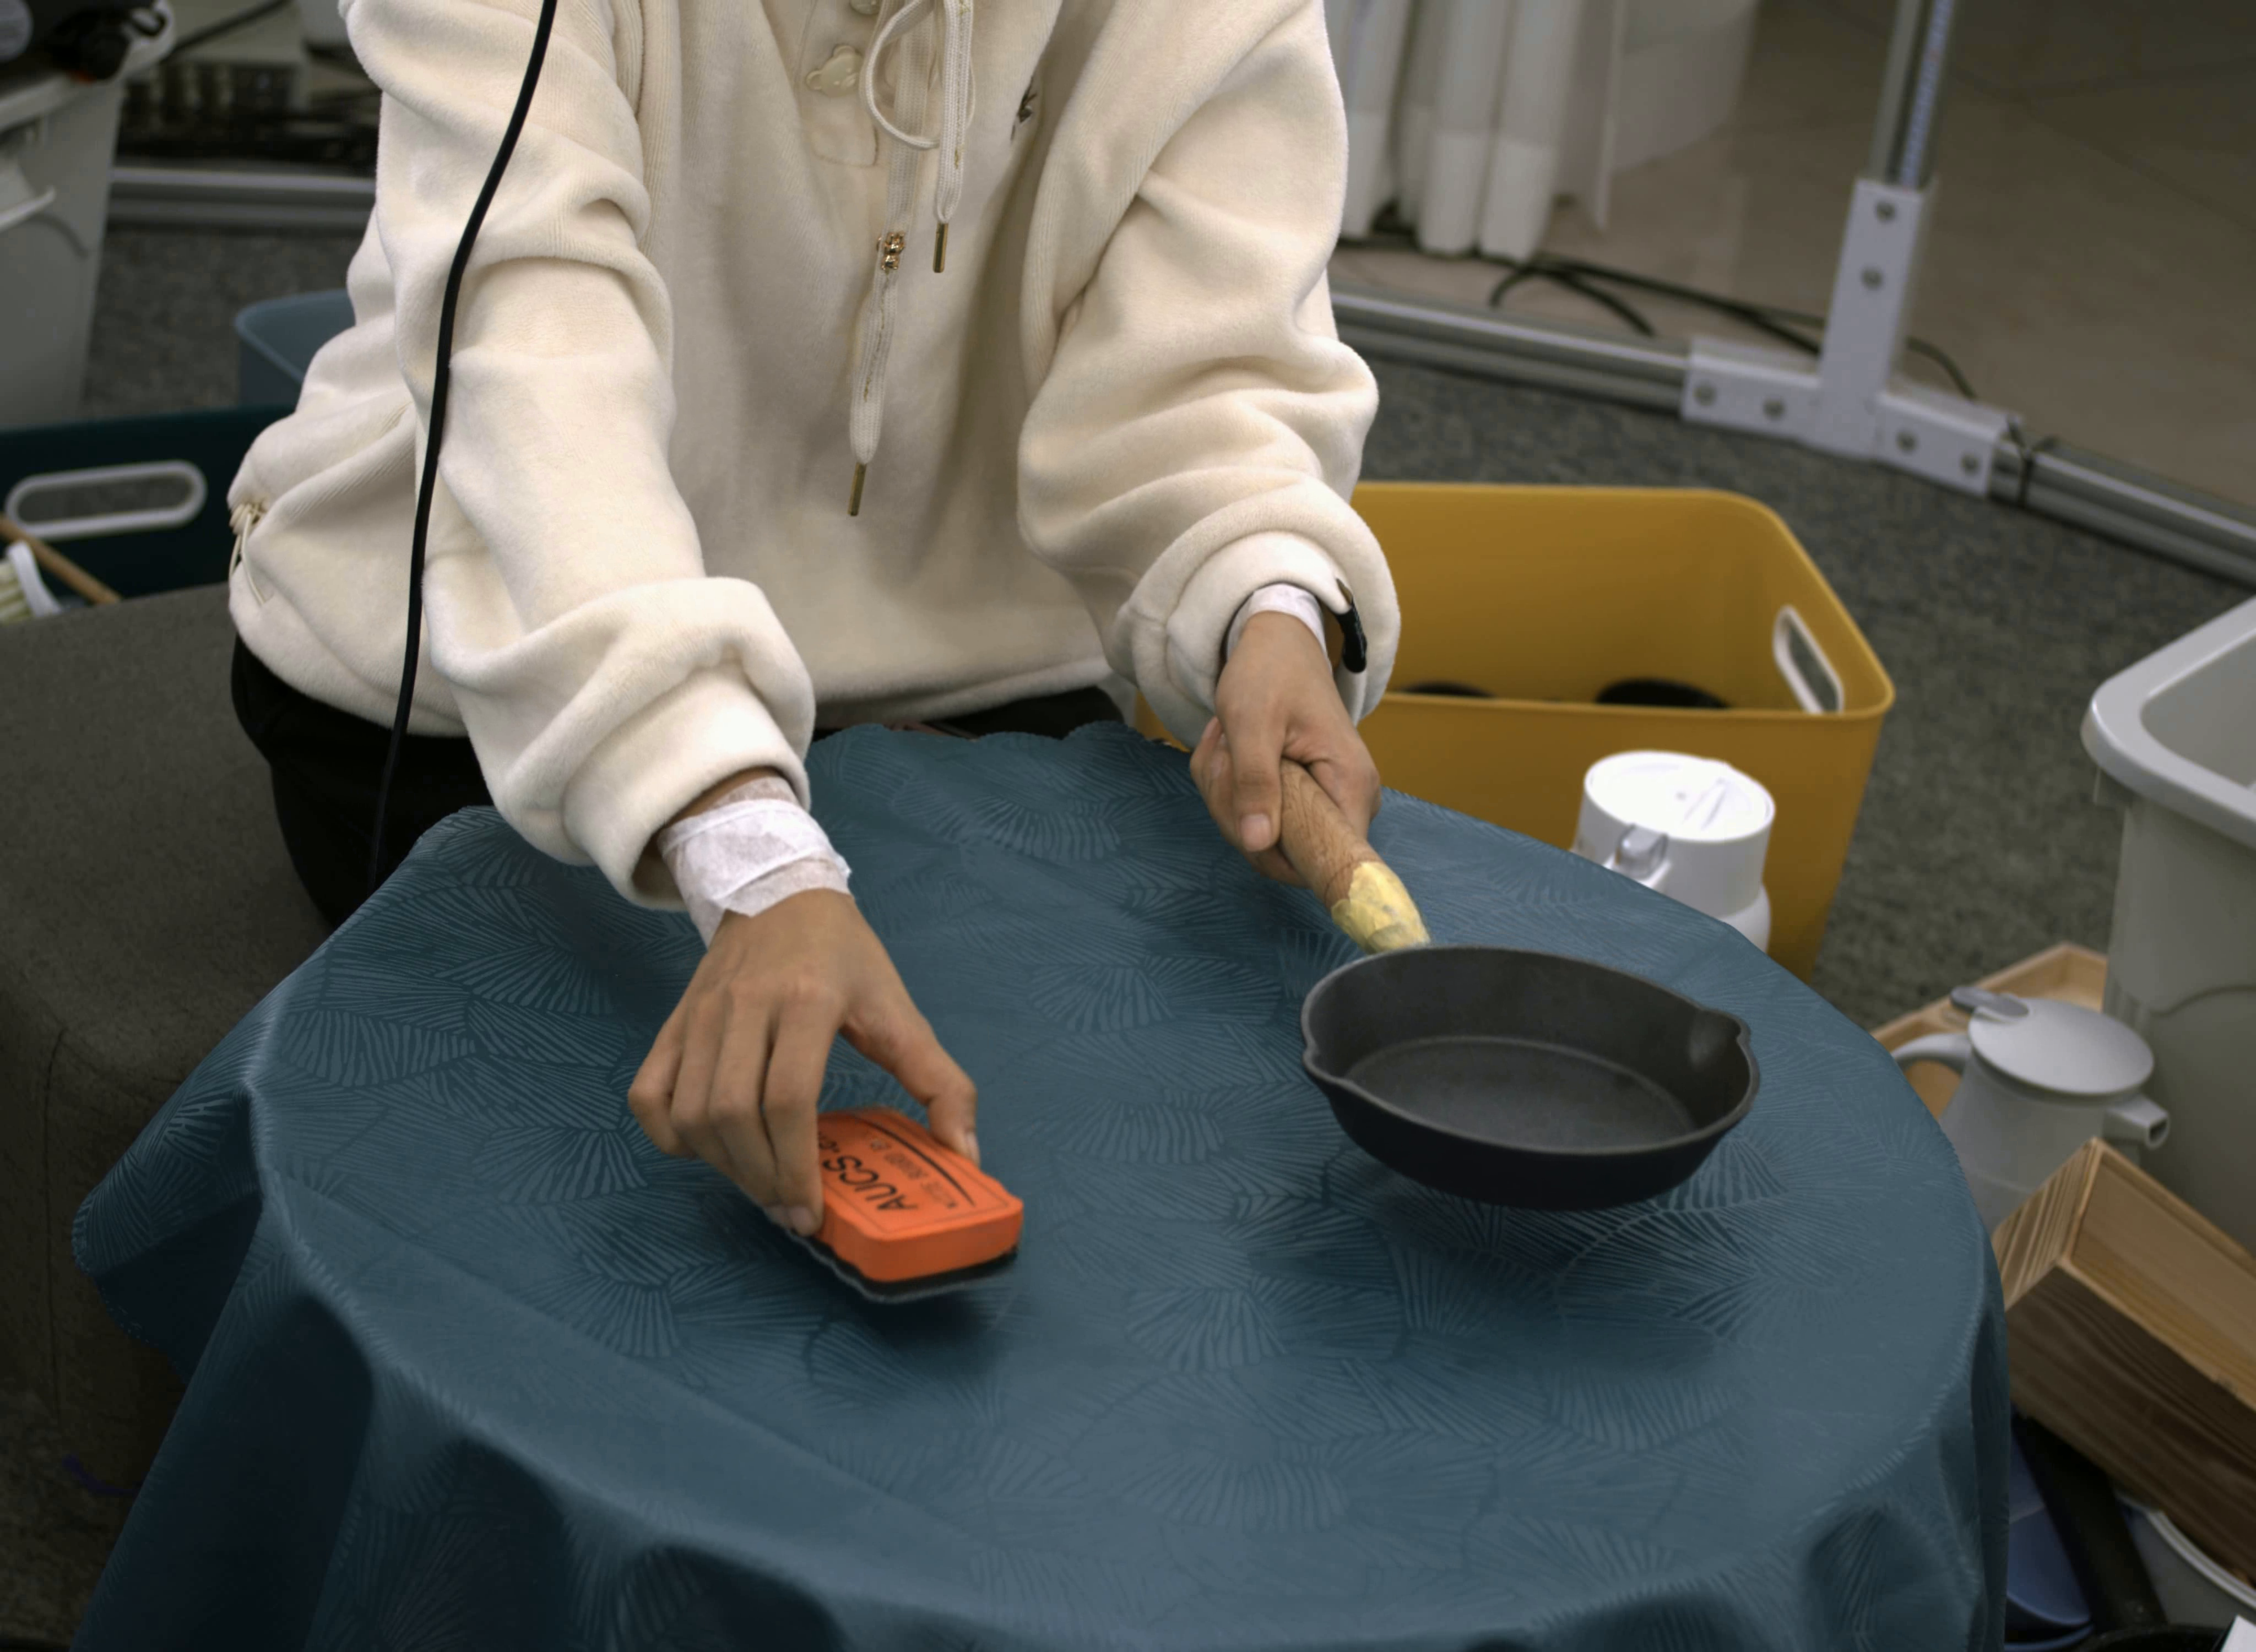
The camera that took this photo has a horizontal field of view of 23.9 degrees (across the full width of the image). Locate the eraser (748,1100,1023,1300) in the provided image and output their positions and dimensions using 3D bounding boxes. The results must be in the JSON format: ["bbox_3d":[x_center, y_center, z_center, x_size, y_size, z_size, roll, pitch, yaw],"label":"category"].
[{"bbox_3d":[-0.080,0.121,1.736,0.058,0.023,0.109,-12,21,-24],"label":"eraser"}]

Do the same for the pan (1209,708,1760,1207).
[{"bbox_3d":[0.102,0.044,1.870,0.168,0.049,0.327,-4,27,-23],"label":"pan"}]
